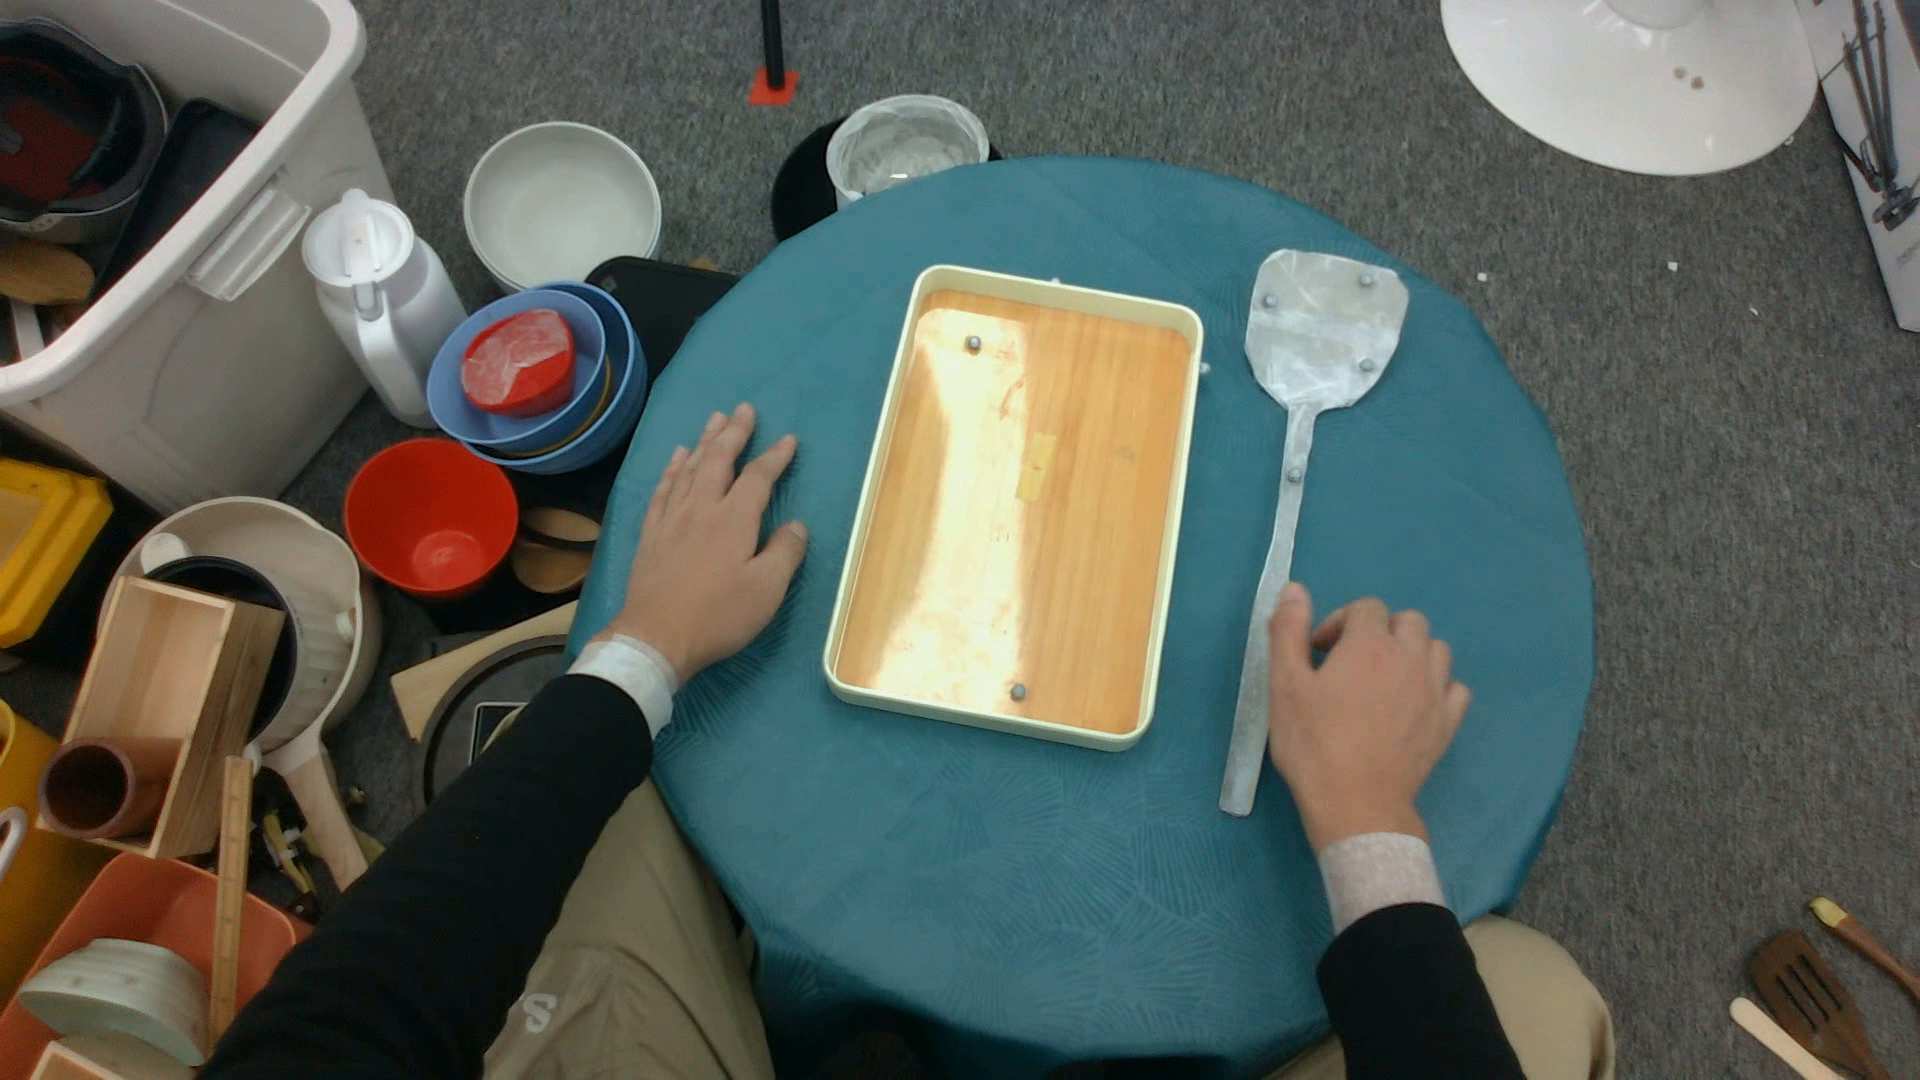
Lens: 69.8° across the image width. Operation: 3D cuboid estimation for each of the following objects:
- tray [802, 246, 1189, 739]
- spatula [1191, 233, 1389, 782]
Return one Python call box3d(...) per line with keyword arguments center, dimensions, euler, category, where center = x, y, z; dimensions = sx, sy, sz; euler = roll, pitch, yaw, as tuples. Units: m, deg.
box3d(center=(0.028, -0.038, 0.837), dimensions=(0.191, 0.027, 0.301), euler=(11, 65, 2), category="tray")
box3d(center=(0.188, -0.028, 0.836), dimensions=(0.098, 0.044, 0.366), euler=(15, 65, 3), category="spatula")
